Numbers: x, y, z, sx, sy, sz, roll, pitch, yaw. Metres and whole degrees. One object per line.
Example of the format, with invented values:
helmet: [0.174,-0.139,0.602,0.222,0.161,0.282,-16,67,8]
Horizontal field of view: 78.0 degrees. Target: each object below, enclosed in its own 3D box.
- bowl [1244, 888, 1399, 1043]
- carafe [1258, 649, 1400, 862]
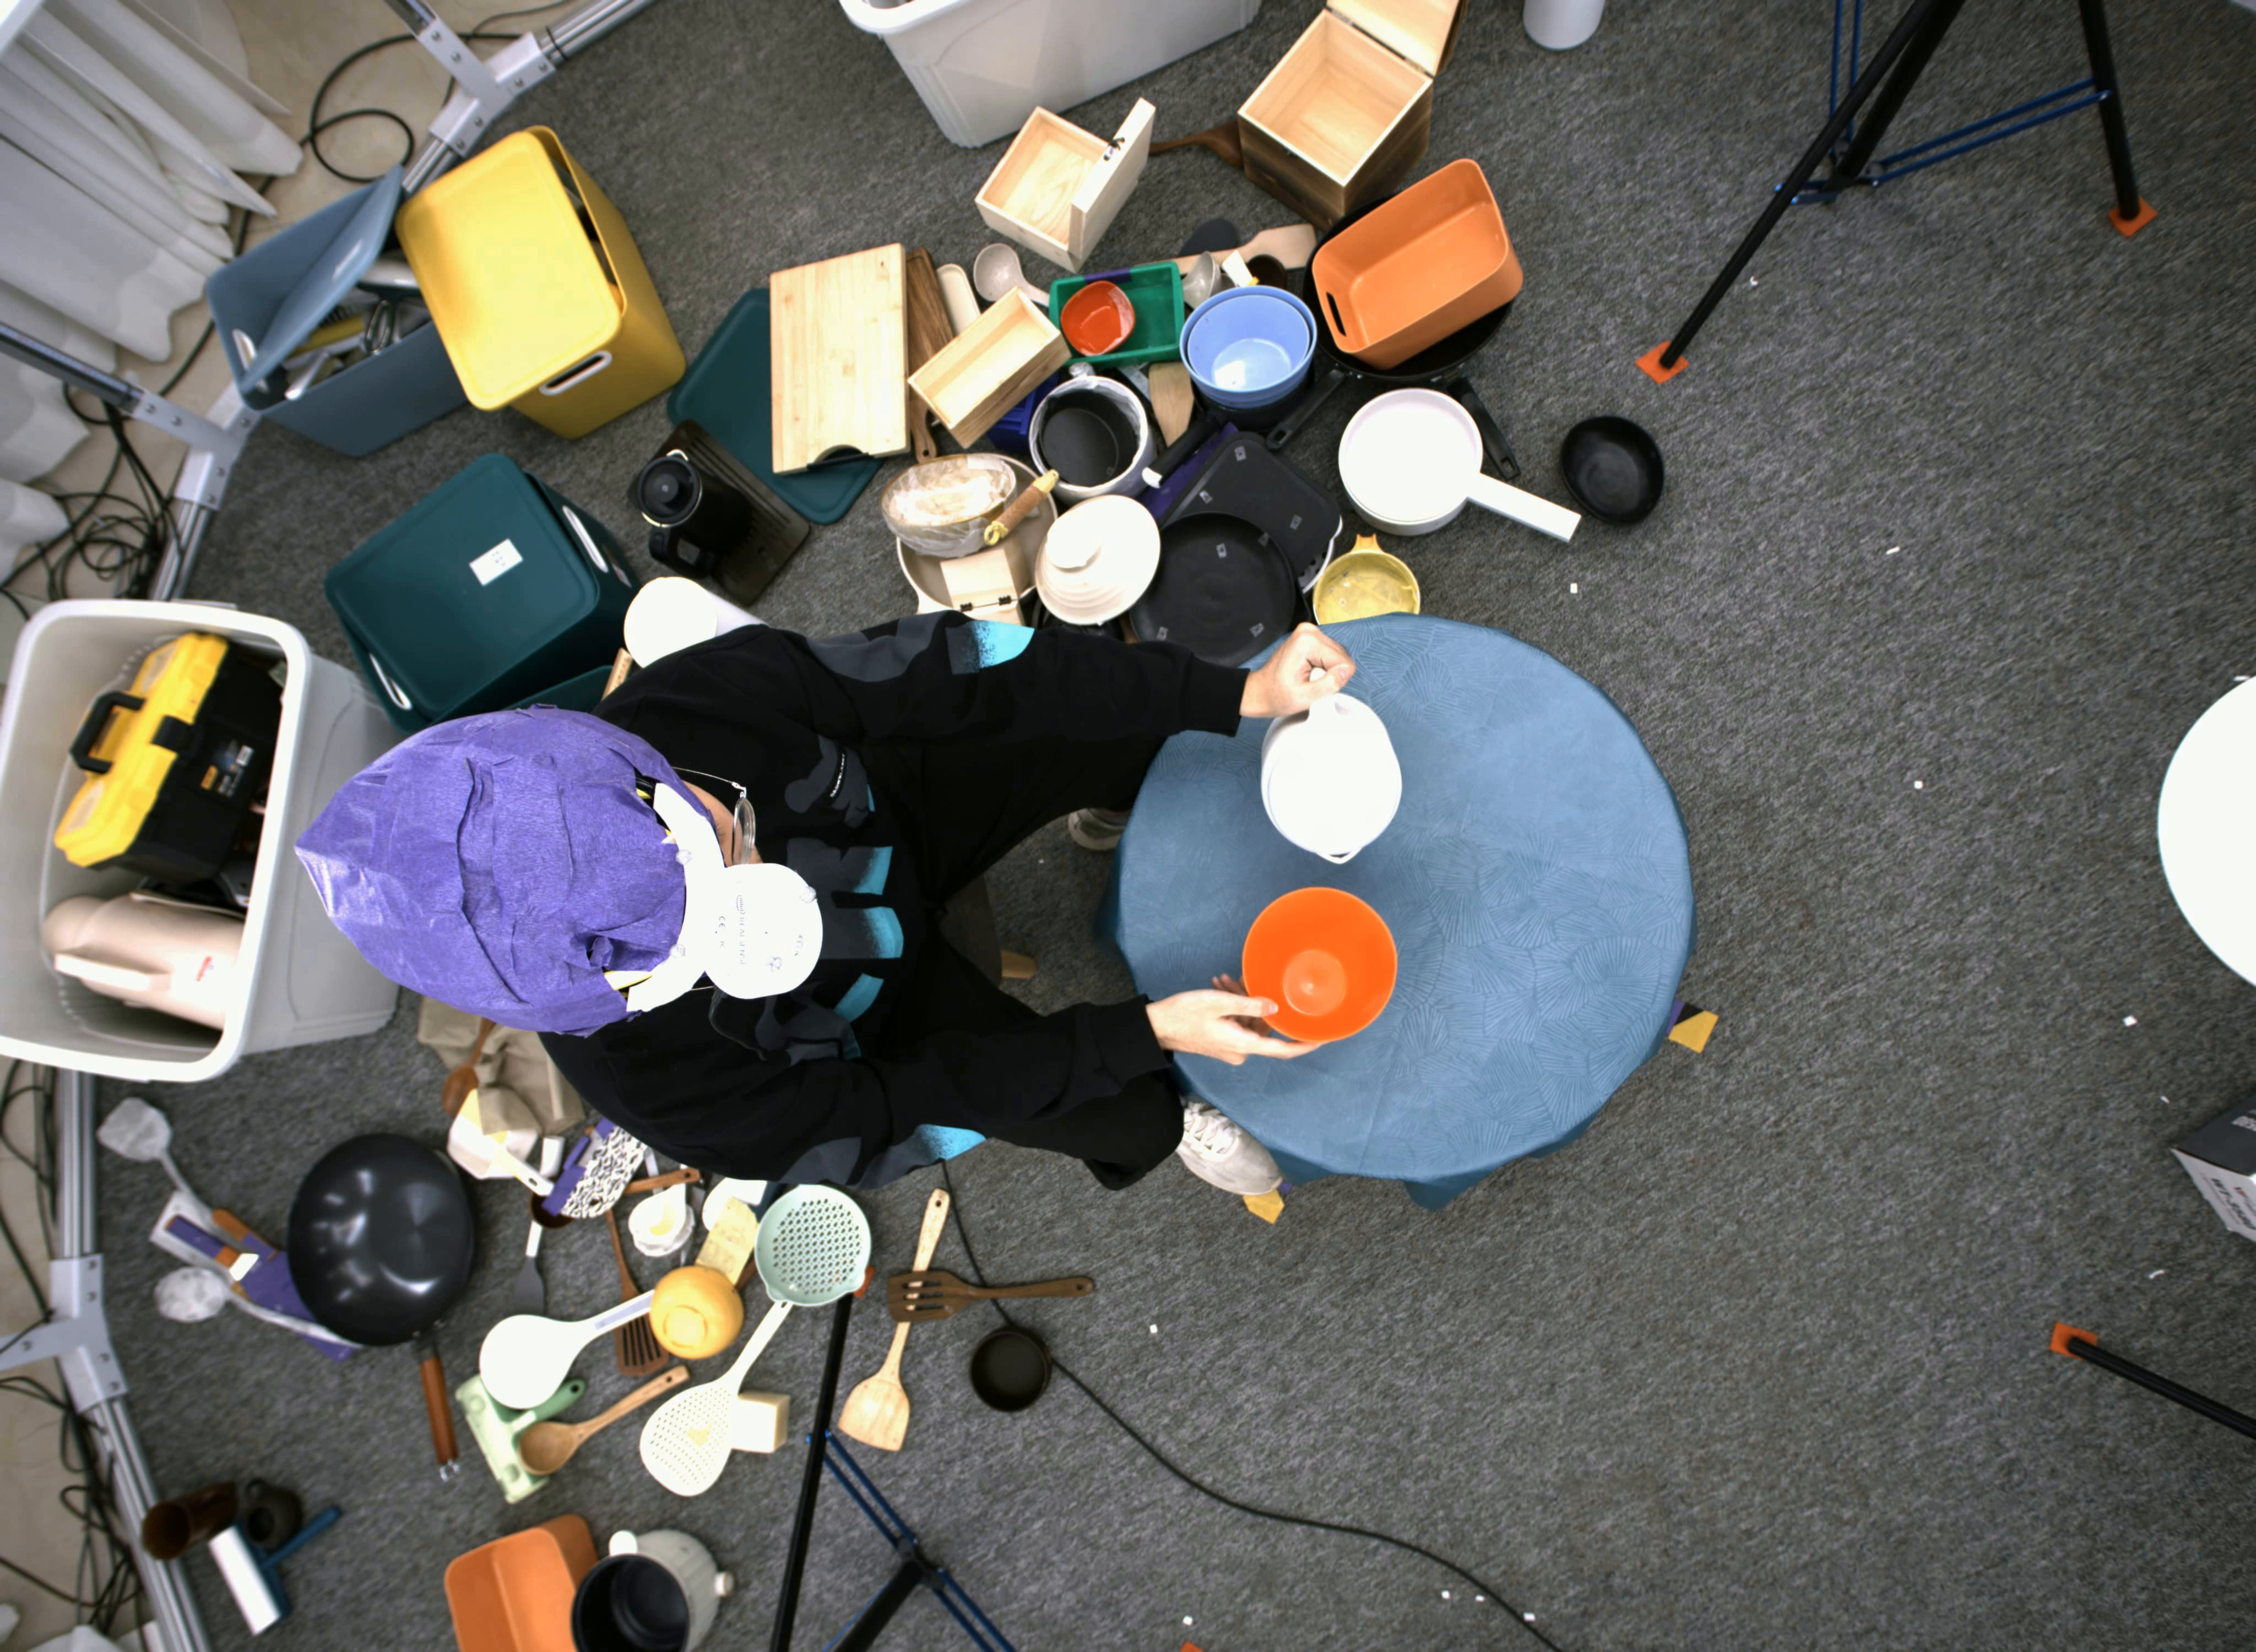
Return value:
bowl: [0.188,0.141,1.363,0.148,0.105,0.146,-1,80,5]
carafe: [0.187,-0.075,1.327,0.133,0.180,0.193,-9,102,7]
